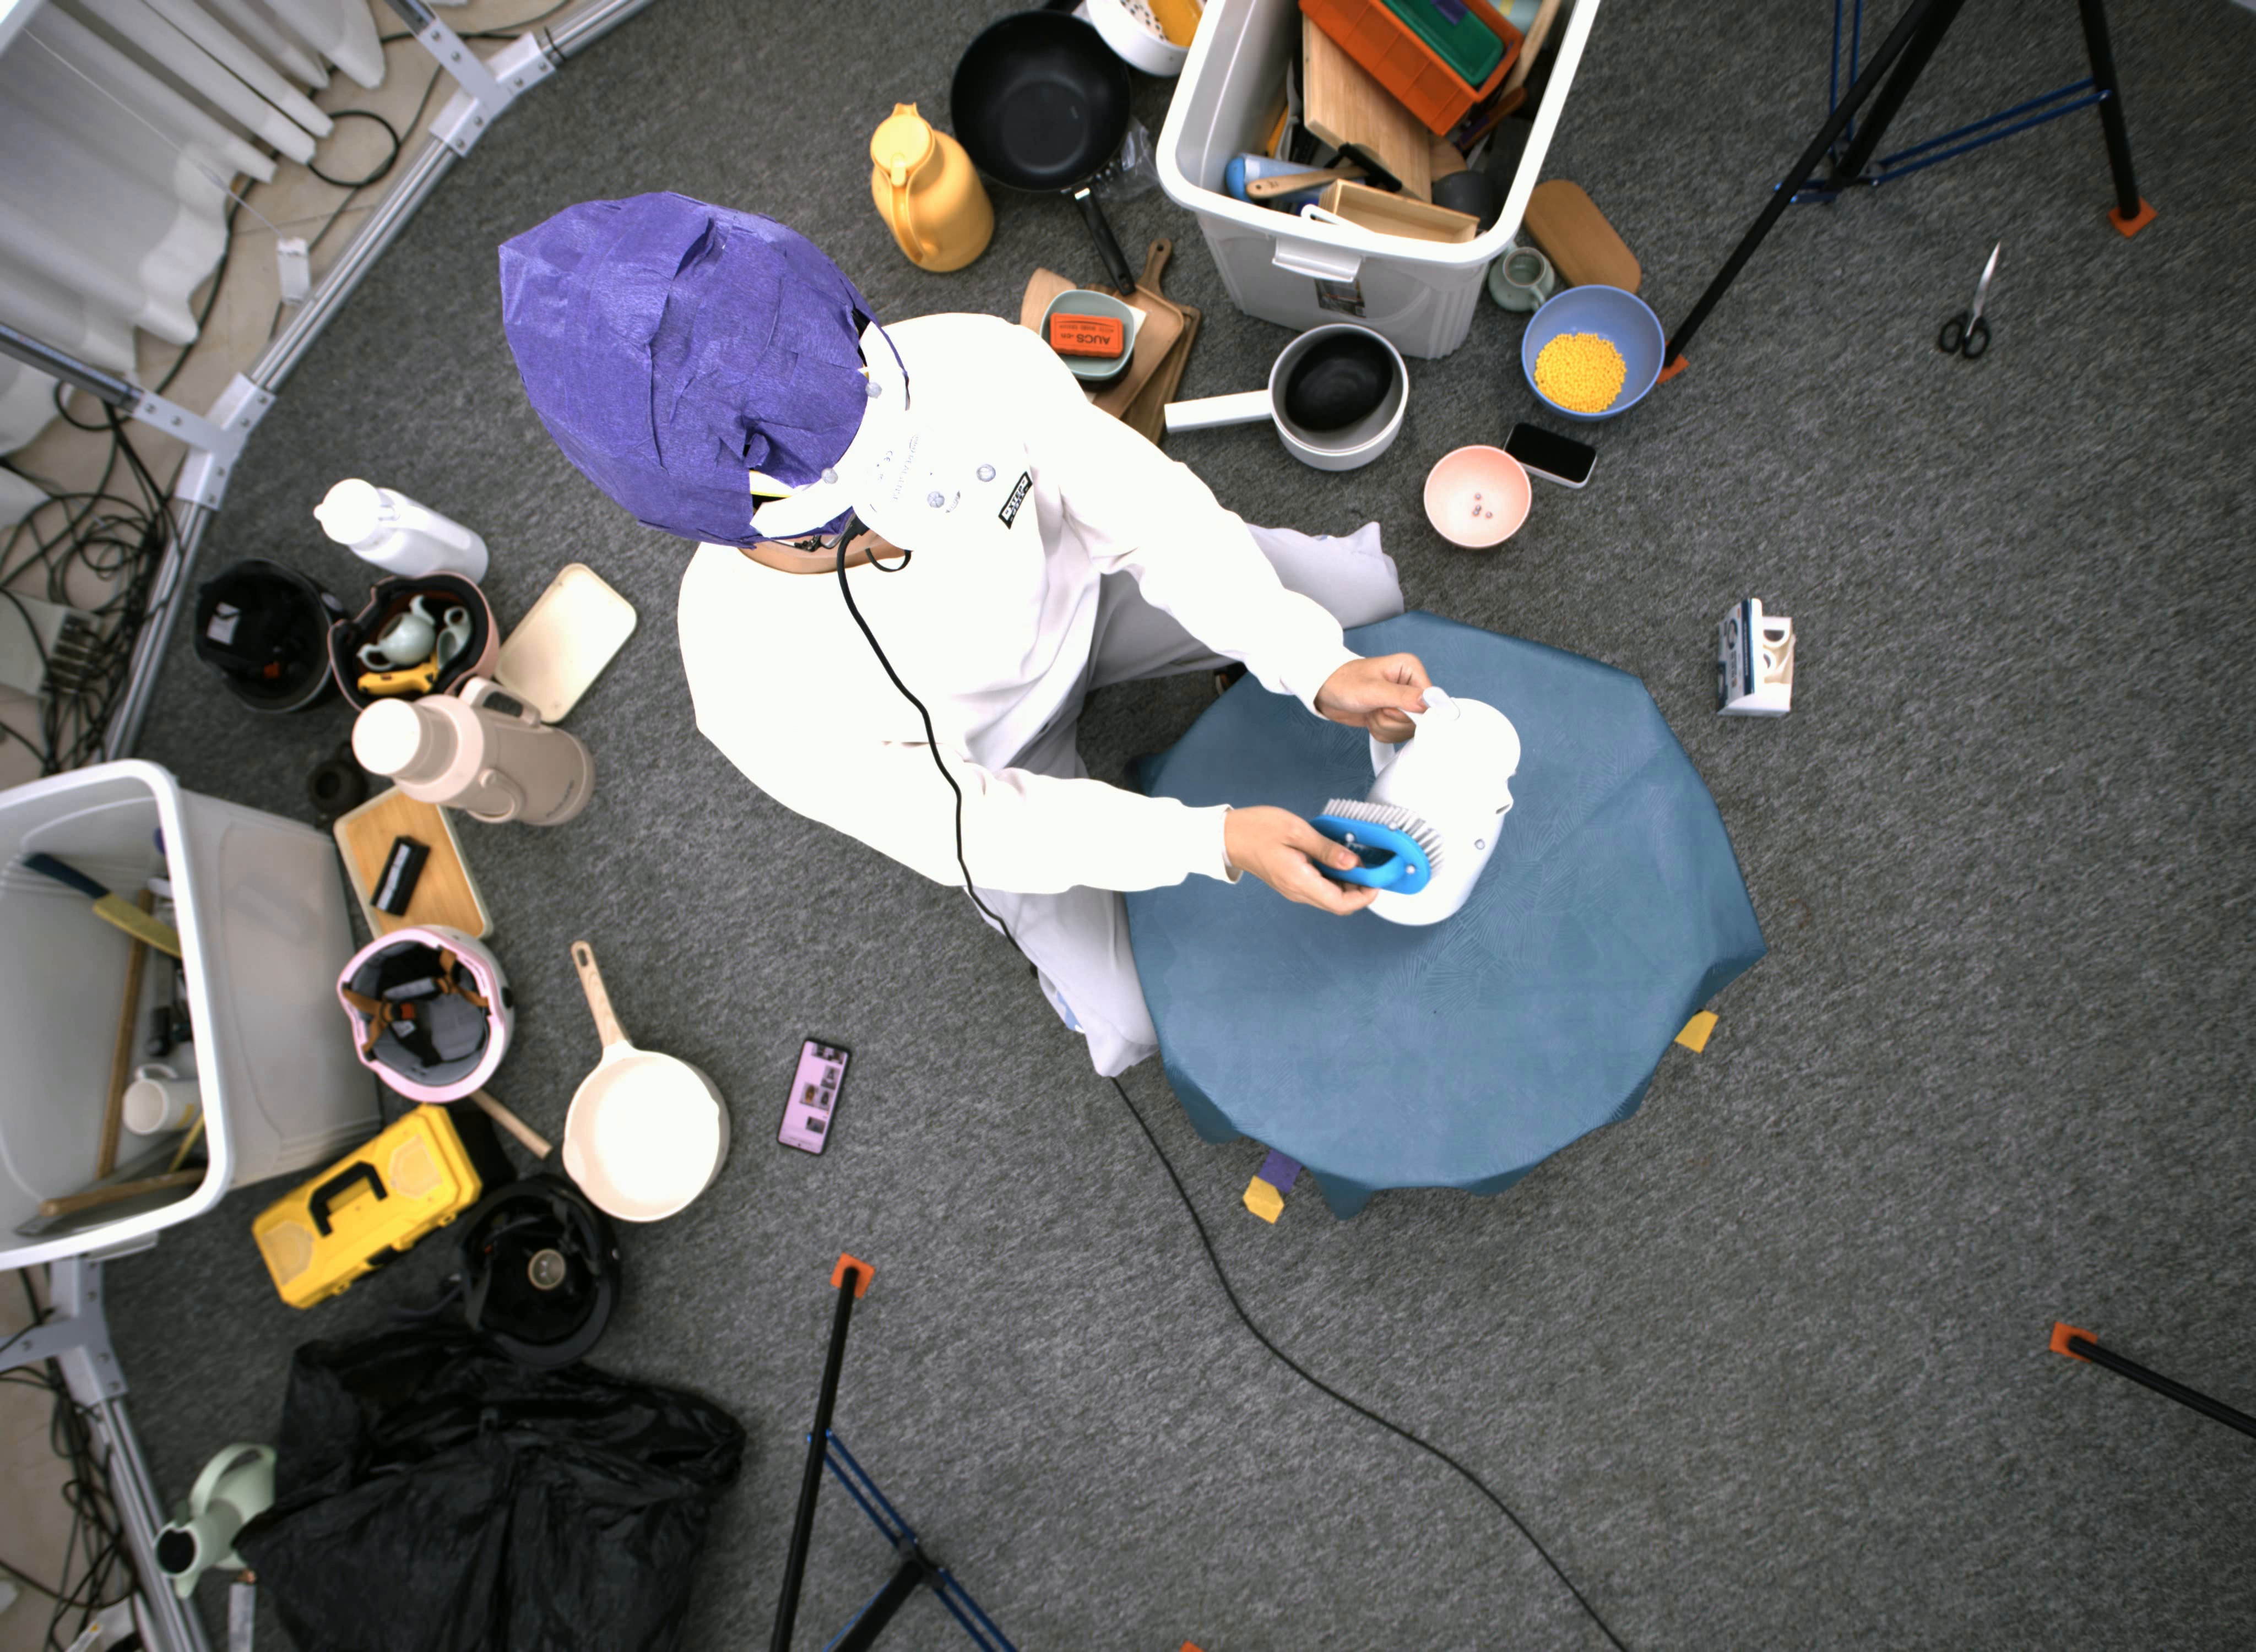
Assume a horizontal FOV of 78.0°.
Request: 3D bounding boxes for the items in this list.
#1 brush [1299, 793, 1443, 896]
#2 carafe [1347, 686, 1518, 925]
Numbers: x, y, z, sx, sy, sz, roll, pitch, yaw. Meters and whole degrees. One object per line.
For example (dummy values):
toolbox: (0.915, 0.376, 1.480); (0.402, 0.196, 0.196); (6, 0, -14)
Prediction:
brush: (0.211, 0.025, 1.249); (0.142, 0.086, 0.062); (17, 51, 44)
carafe: (0.276, -0.033, 1.290); (0.131, 0.254, 0.165); (-26, 66, -14)
